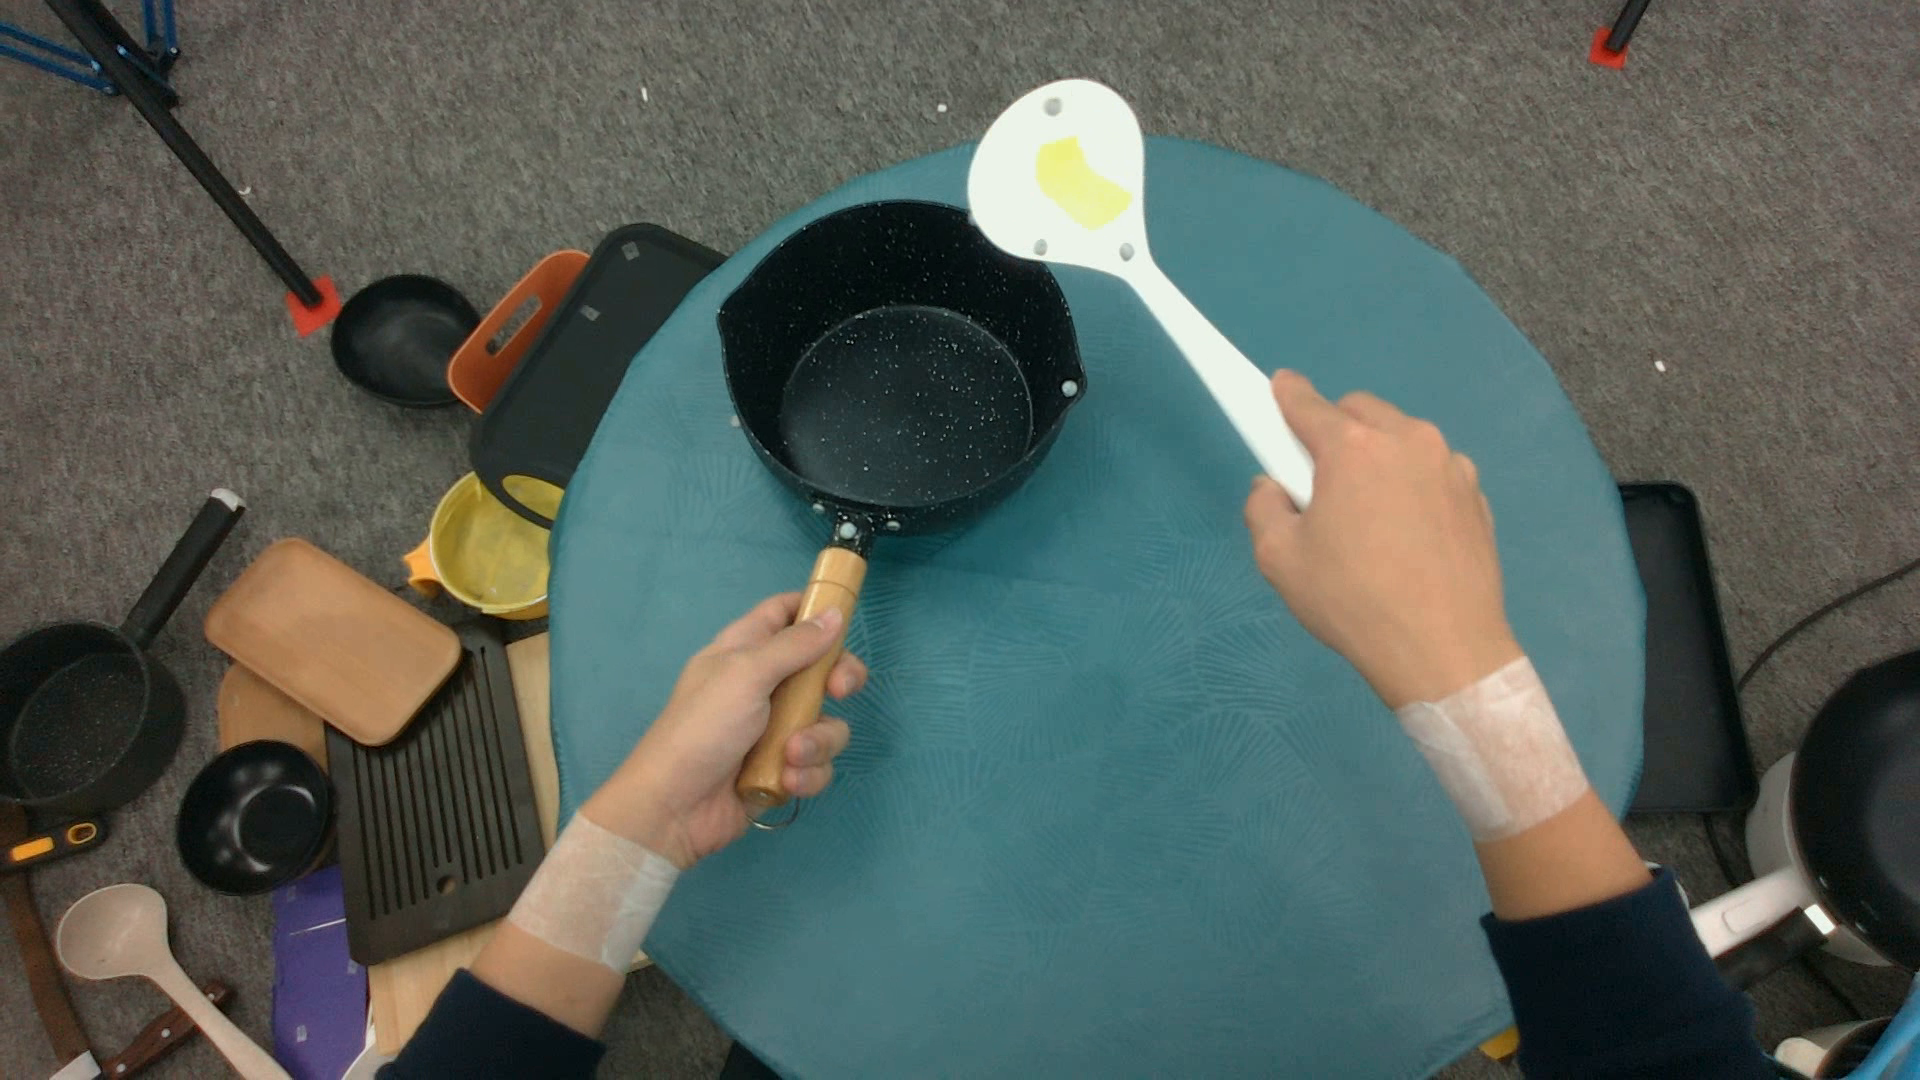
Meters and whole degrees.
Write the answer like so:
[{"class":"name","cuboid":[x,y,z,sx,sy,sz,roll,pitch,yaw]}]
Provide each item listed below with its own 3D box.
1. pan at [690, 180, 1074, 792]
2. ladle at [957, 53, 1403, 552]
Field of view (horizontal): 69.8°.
[{"class":"pan","cuboid":[-0.056,-0.027,0.715,0.207,0.108,0.344,11,67,3]},{"class":"ladle","cuboid":[0.094,-0.114,0.618,0.090,0.070,0.293,-37,53,9]}]
